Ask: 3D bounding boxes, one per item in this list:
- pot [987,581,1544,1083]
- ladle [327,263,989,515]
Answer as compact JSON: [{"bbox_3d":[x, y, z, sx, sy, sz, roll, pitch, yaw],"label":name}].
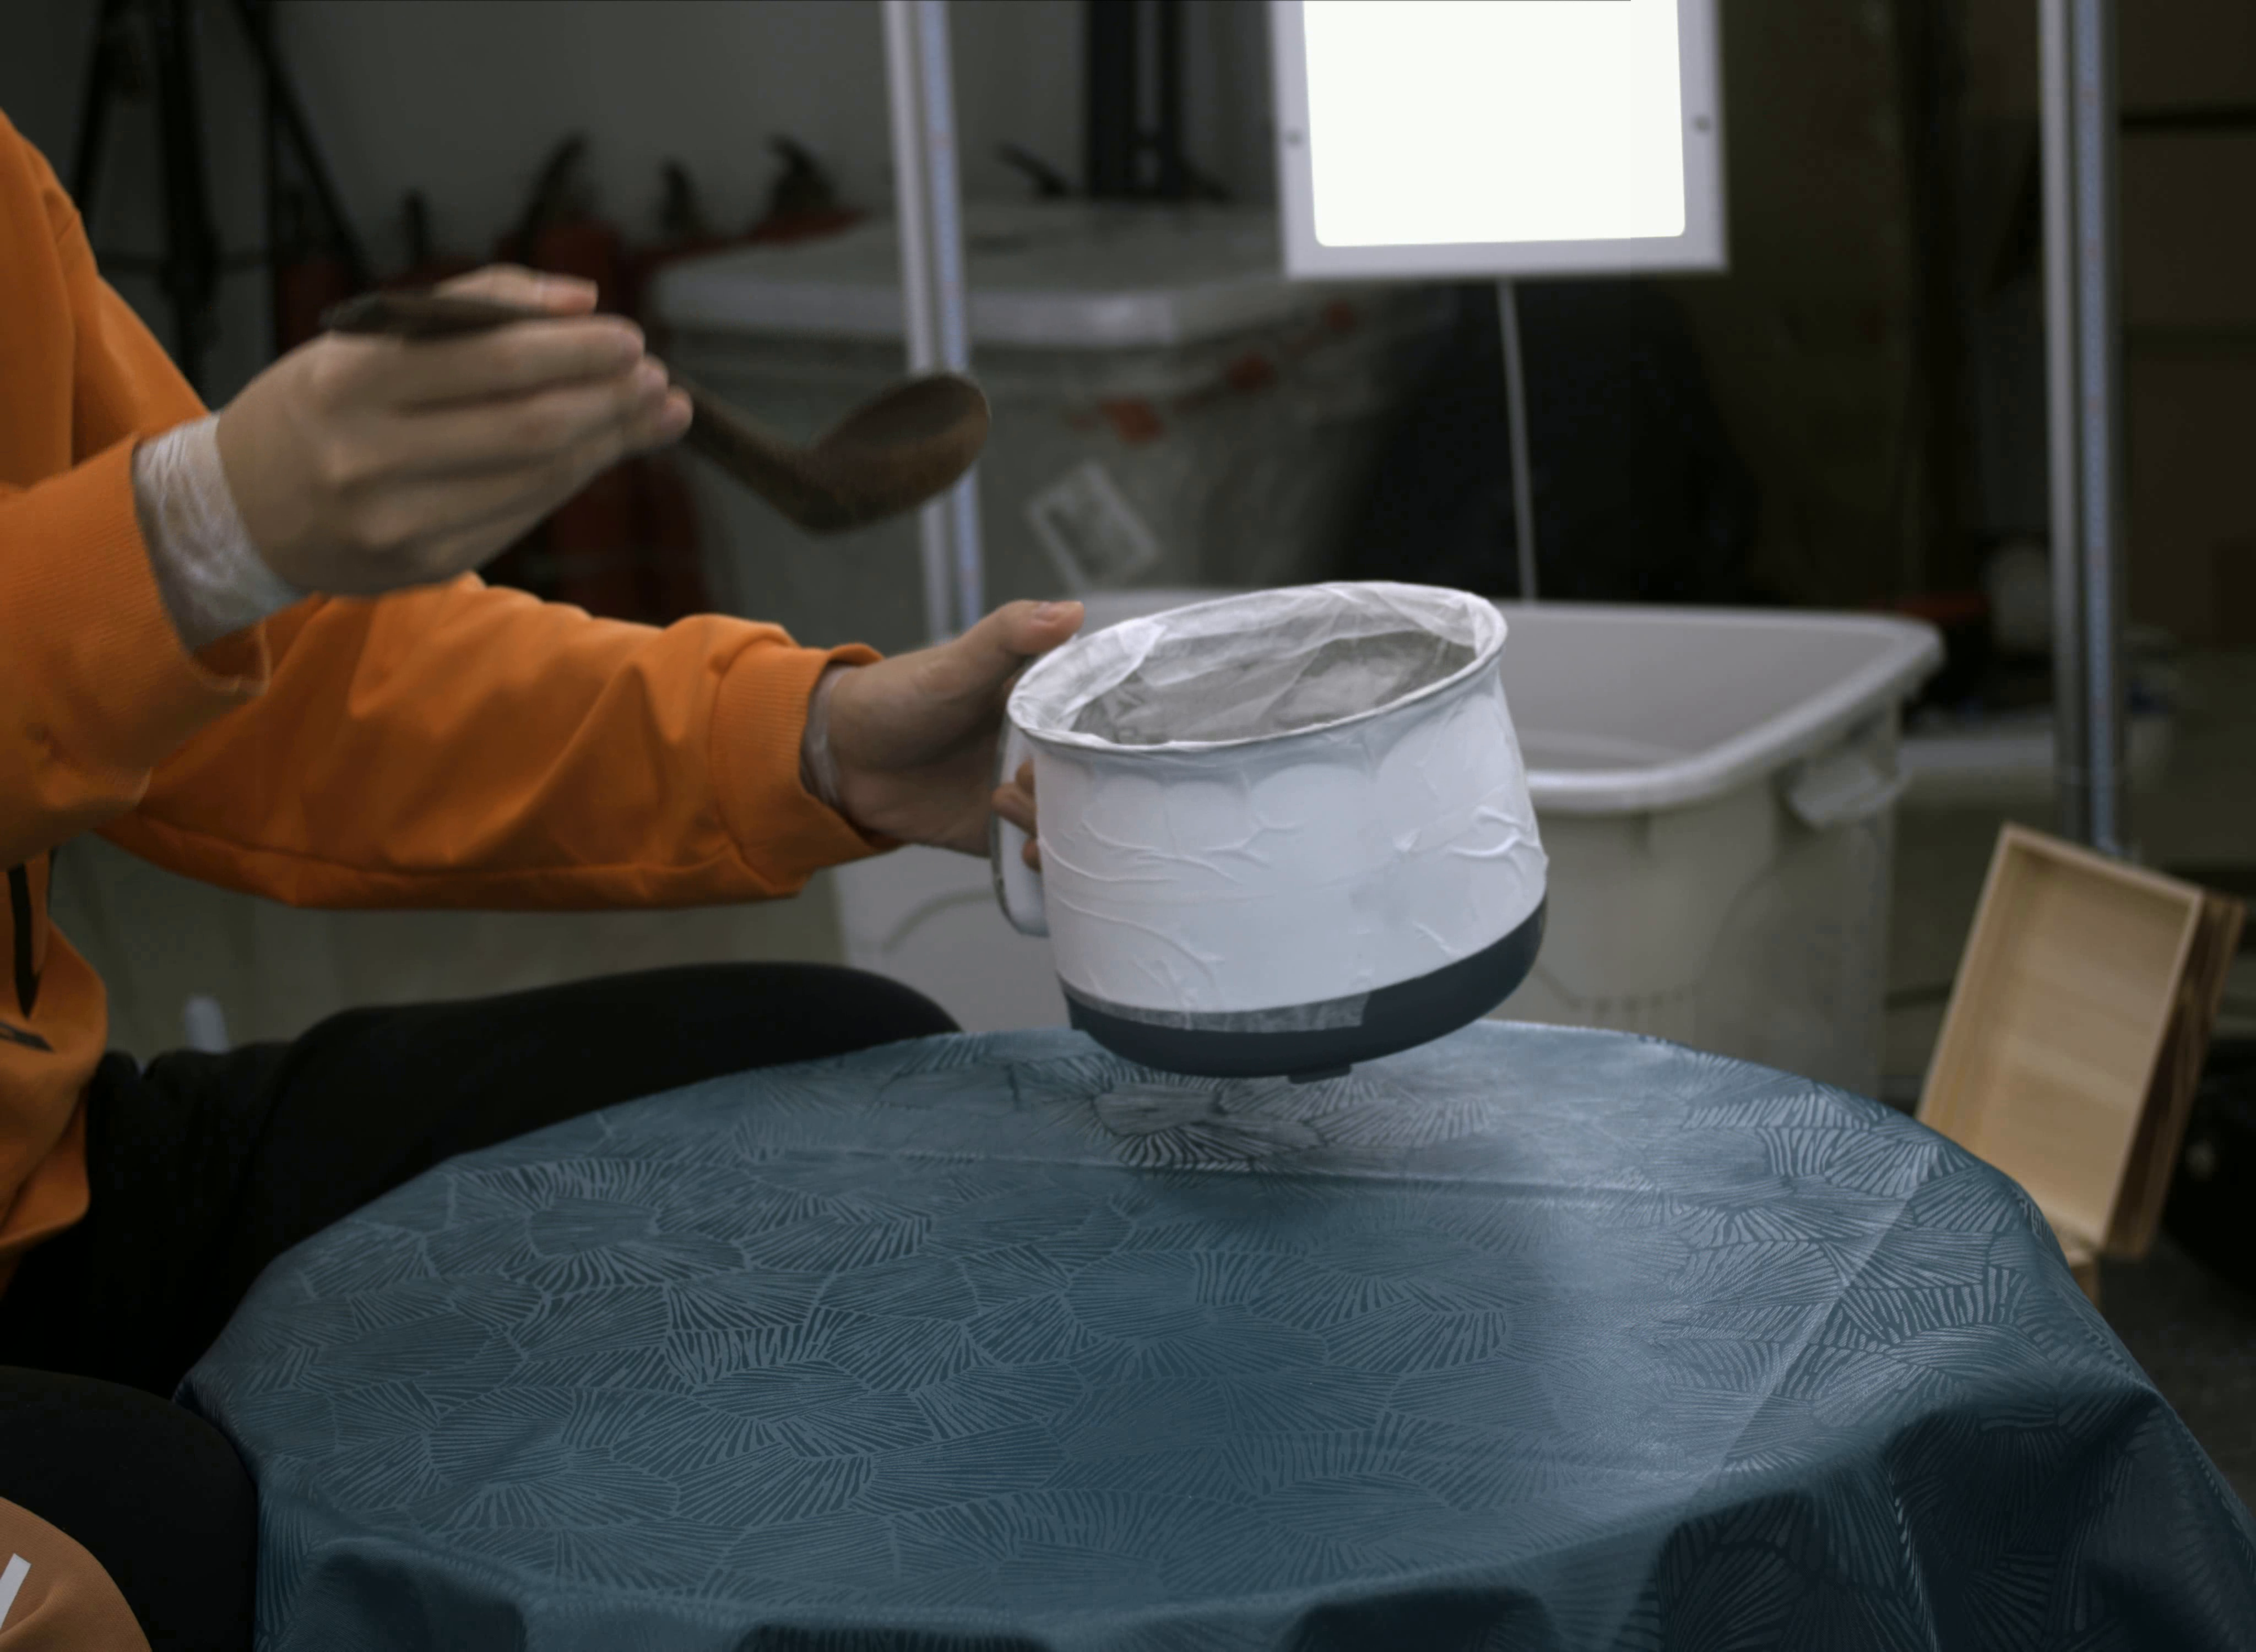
[{"bbox_3d":[0.034,-0.001,1.950,0.239,0.137,0.174,8,25,45],"label":"pot"},{"bbox_3d":[-0.141,-0.152,1.668,0.077,0.071,0.268,-20,-25,33],"label":"ladle"}]
